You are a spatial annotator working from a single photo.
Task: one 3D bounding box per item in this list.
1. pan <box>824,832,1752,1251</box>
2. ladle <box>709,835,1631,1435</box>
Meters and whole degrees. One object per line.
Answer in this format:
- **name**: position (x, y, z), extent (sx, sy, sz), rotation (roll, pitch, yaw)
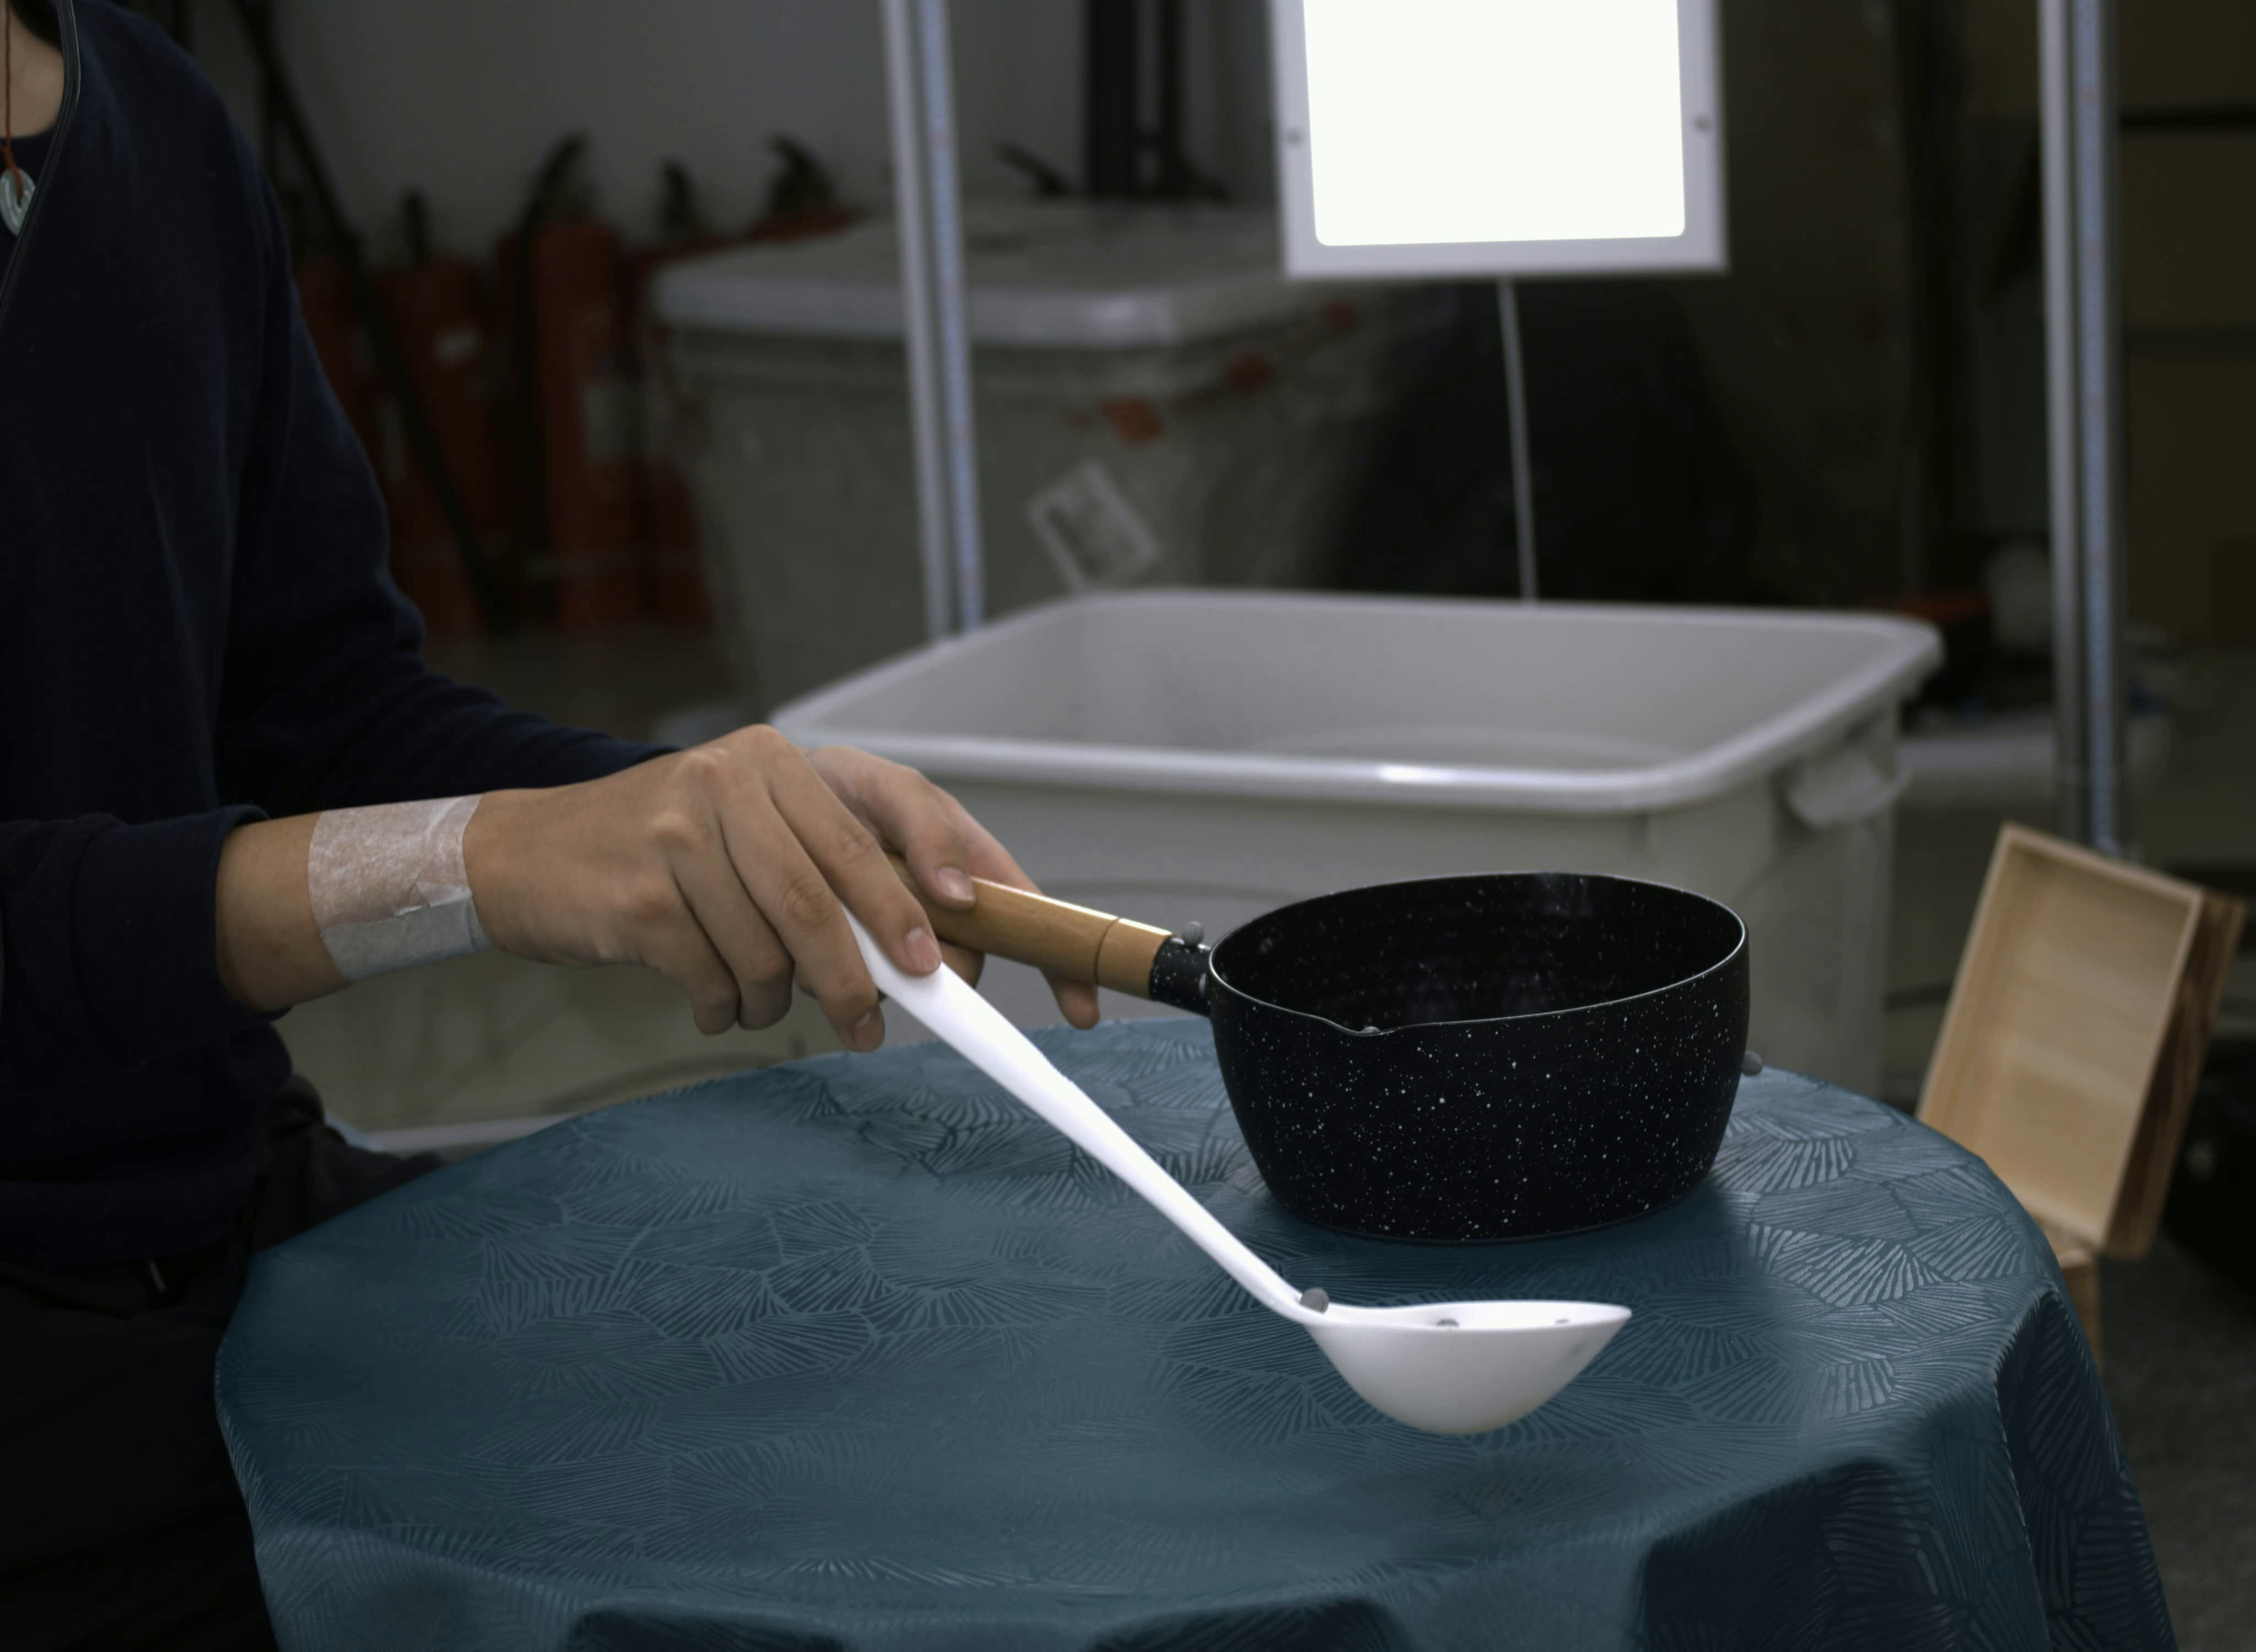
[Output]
- **pan**: position (0.049, 0.065, 1.901), extent (0.348, 0.108, 0.203), rotation (3, 17, 26)
- **ladle**: position (0.008, 0.081, 1.598), extent (0.295, 0.071, 0.088), rotation (36, 19, 16)
